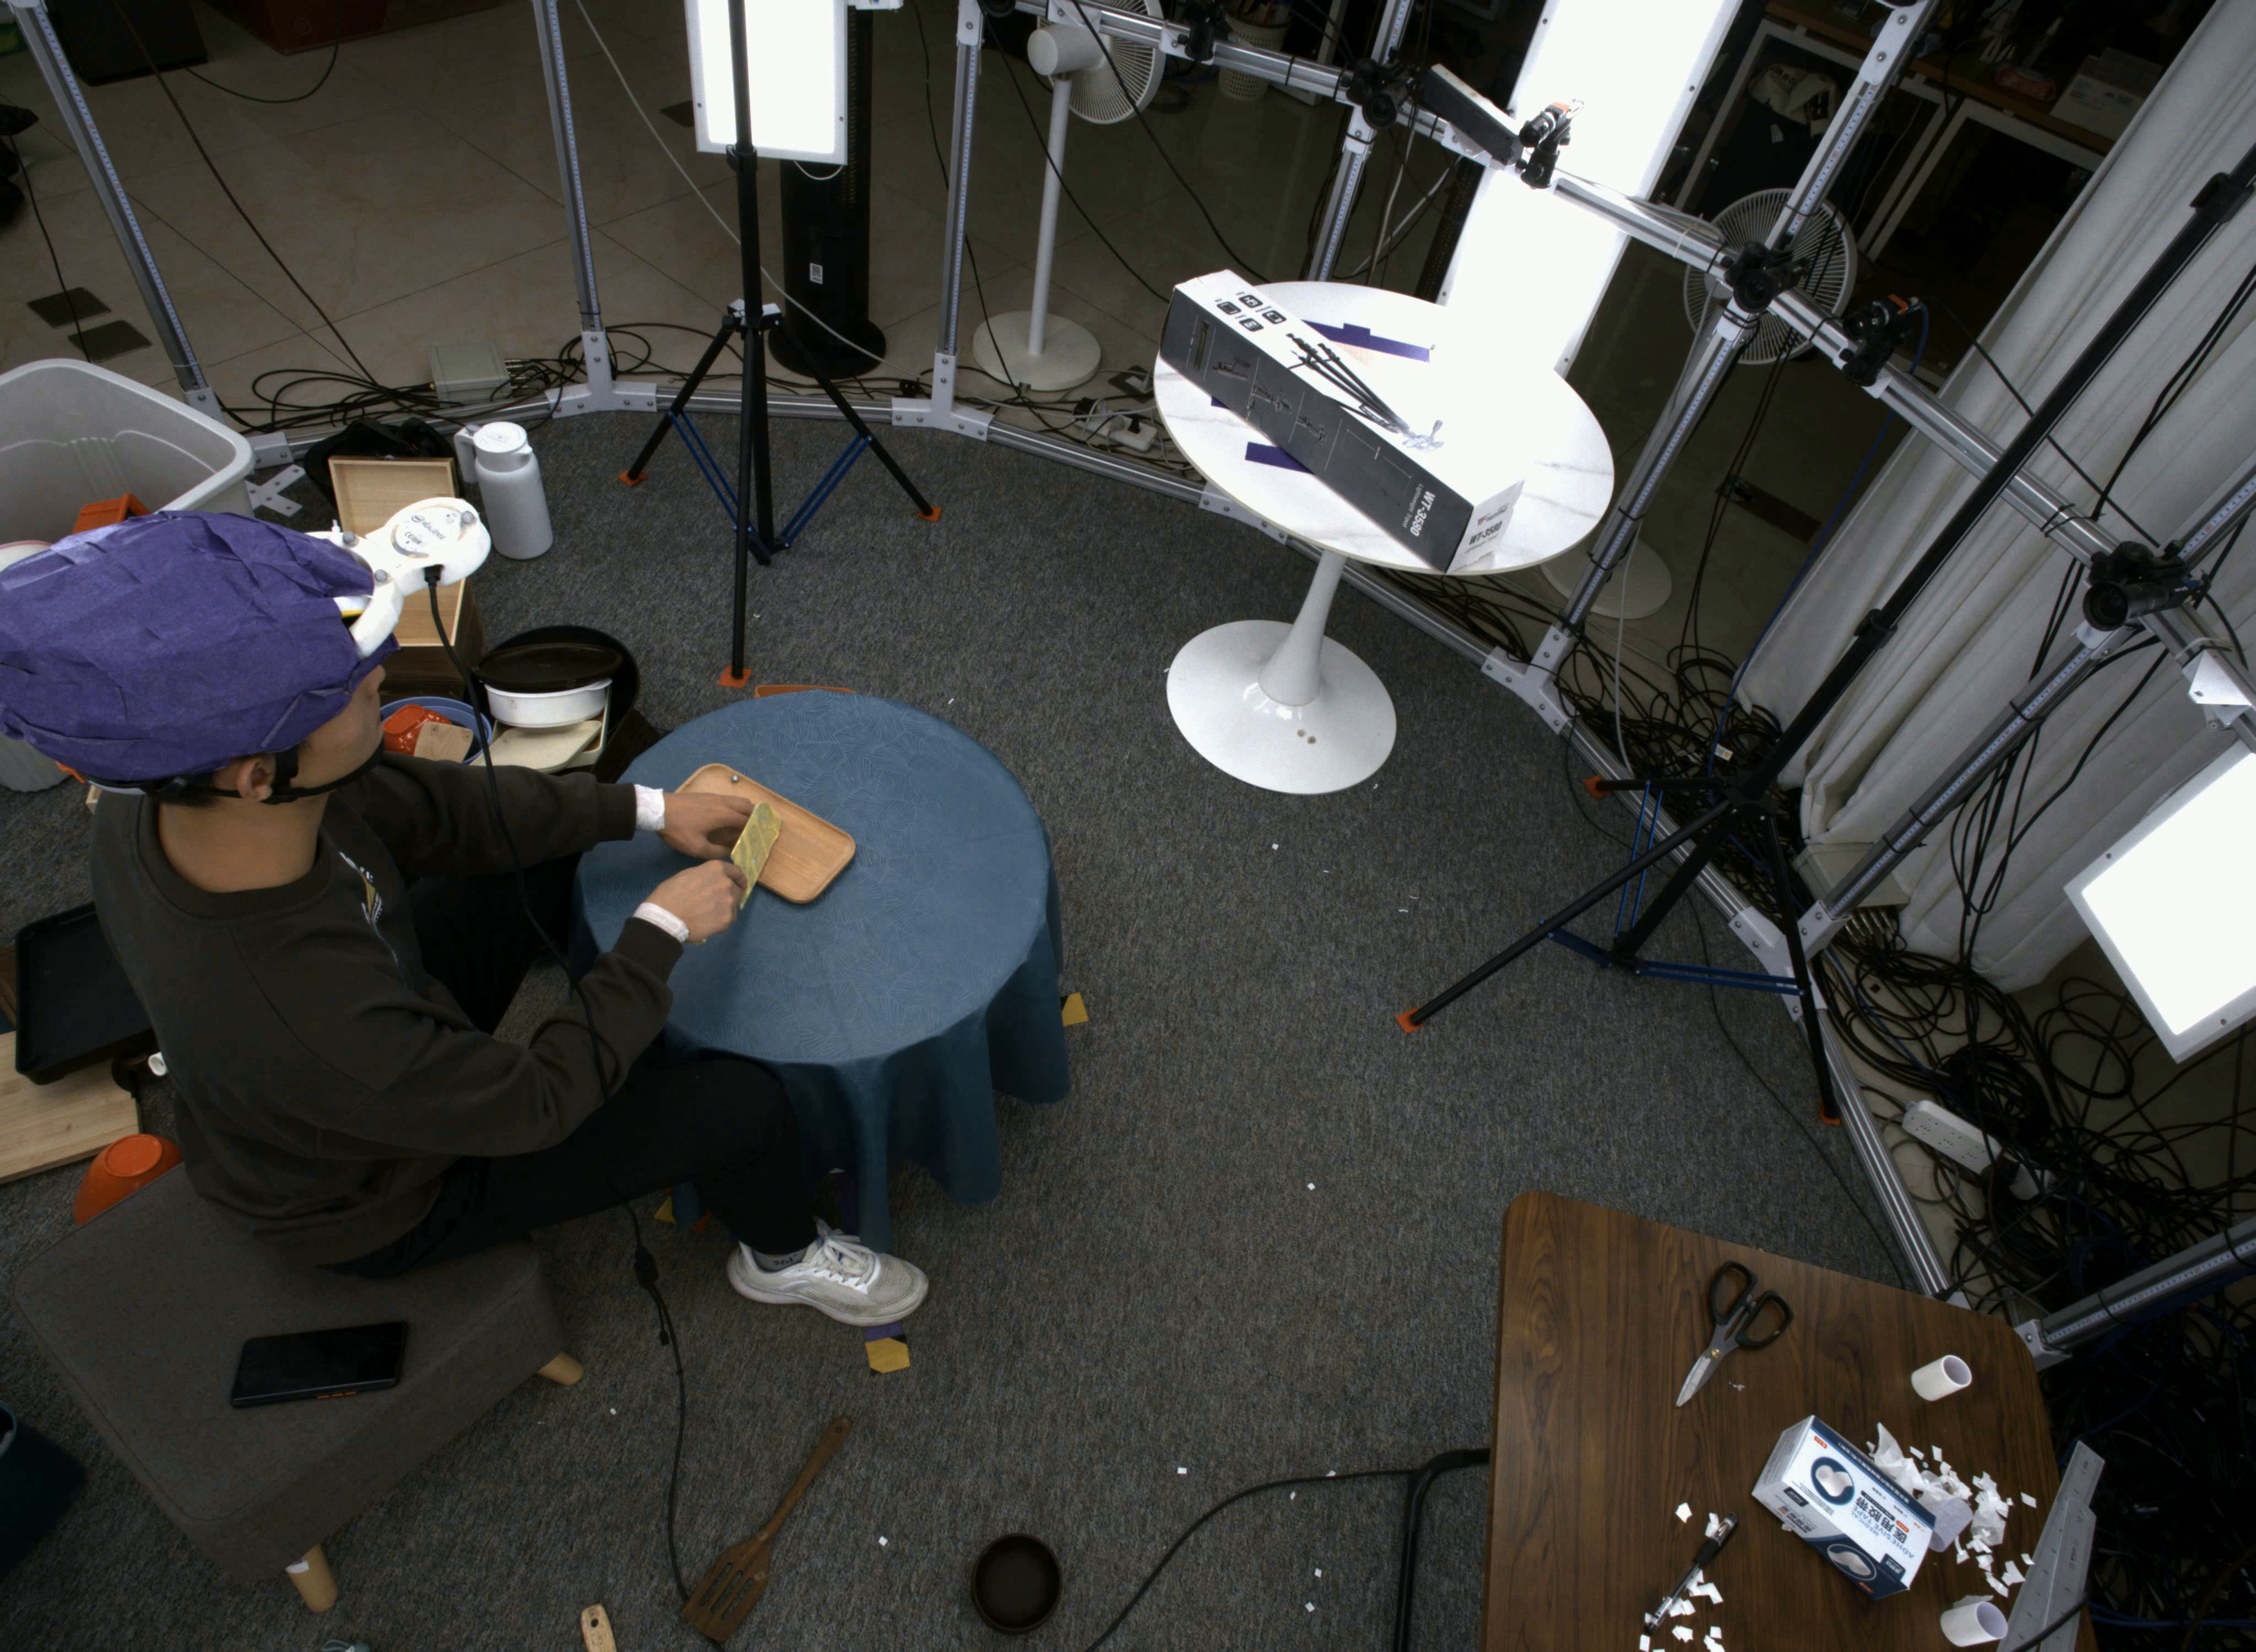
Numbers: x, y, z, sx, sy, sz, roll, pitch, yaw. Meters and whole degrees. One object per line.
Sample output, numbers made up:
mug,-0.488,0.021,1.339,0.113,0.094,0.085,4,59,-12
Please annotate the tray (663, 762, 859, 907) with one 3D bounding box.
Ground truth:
tray,-0.484,0.009,1.708,0.248,0.023,0.130,30,56,5

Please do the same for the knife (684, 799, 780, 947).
knife,-0.478,0.058,1.590,0.027,0.084,0.285,-2,34,11
